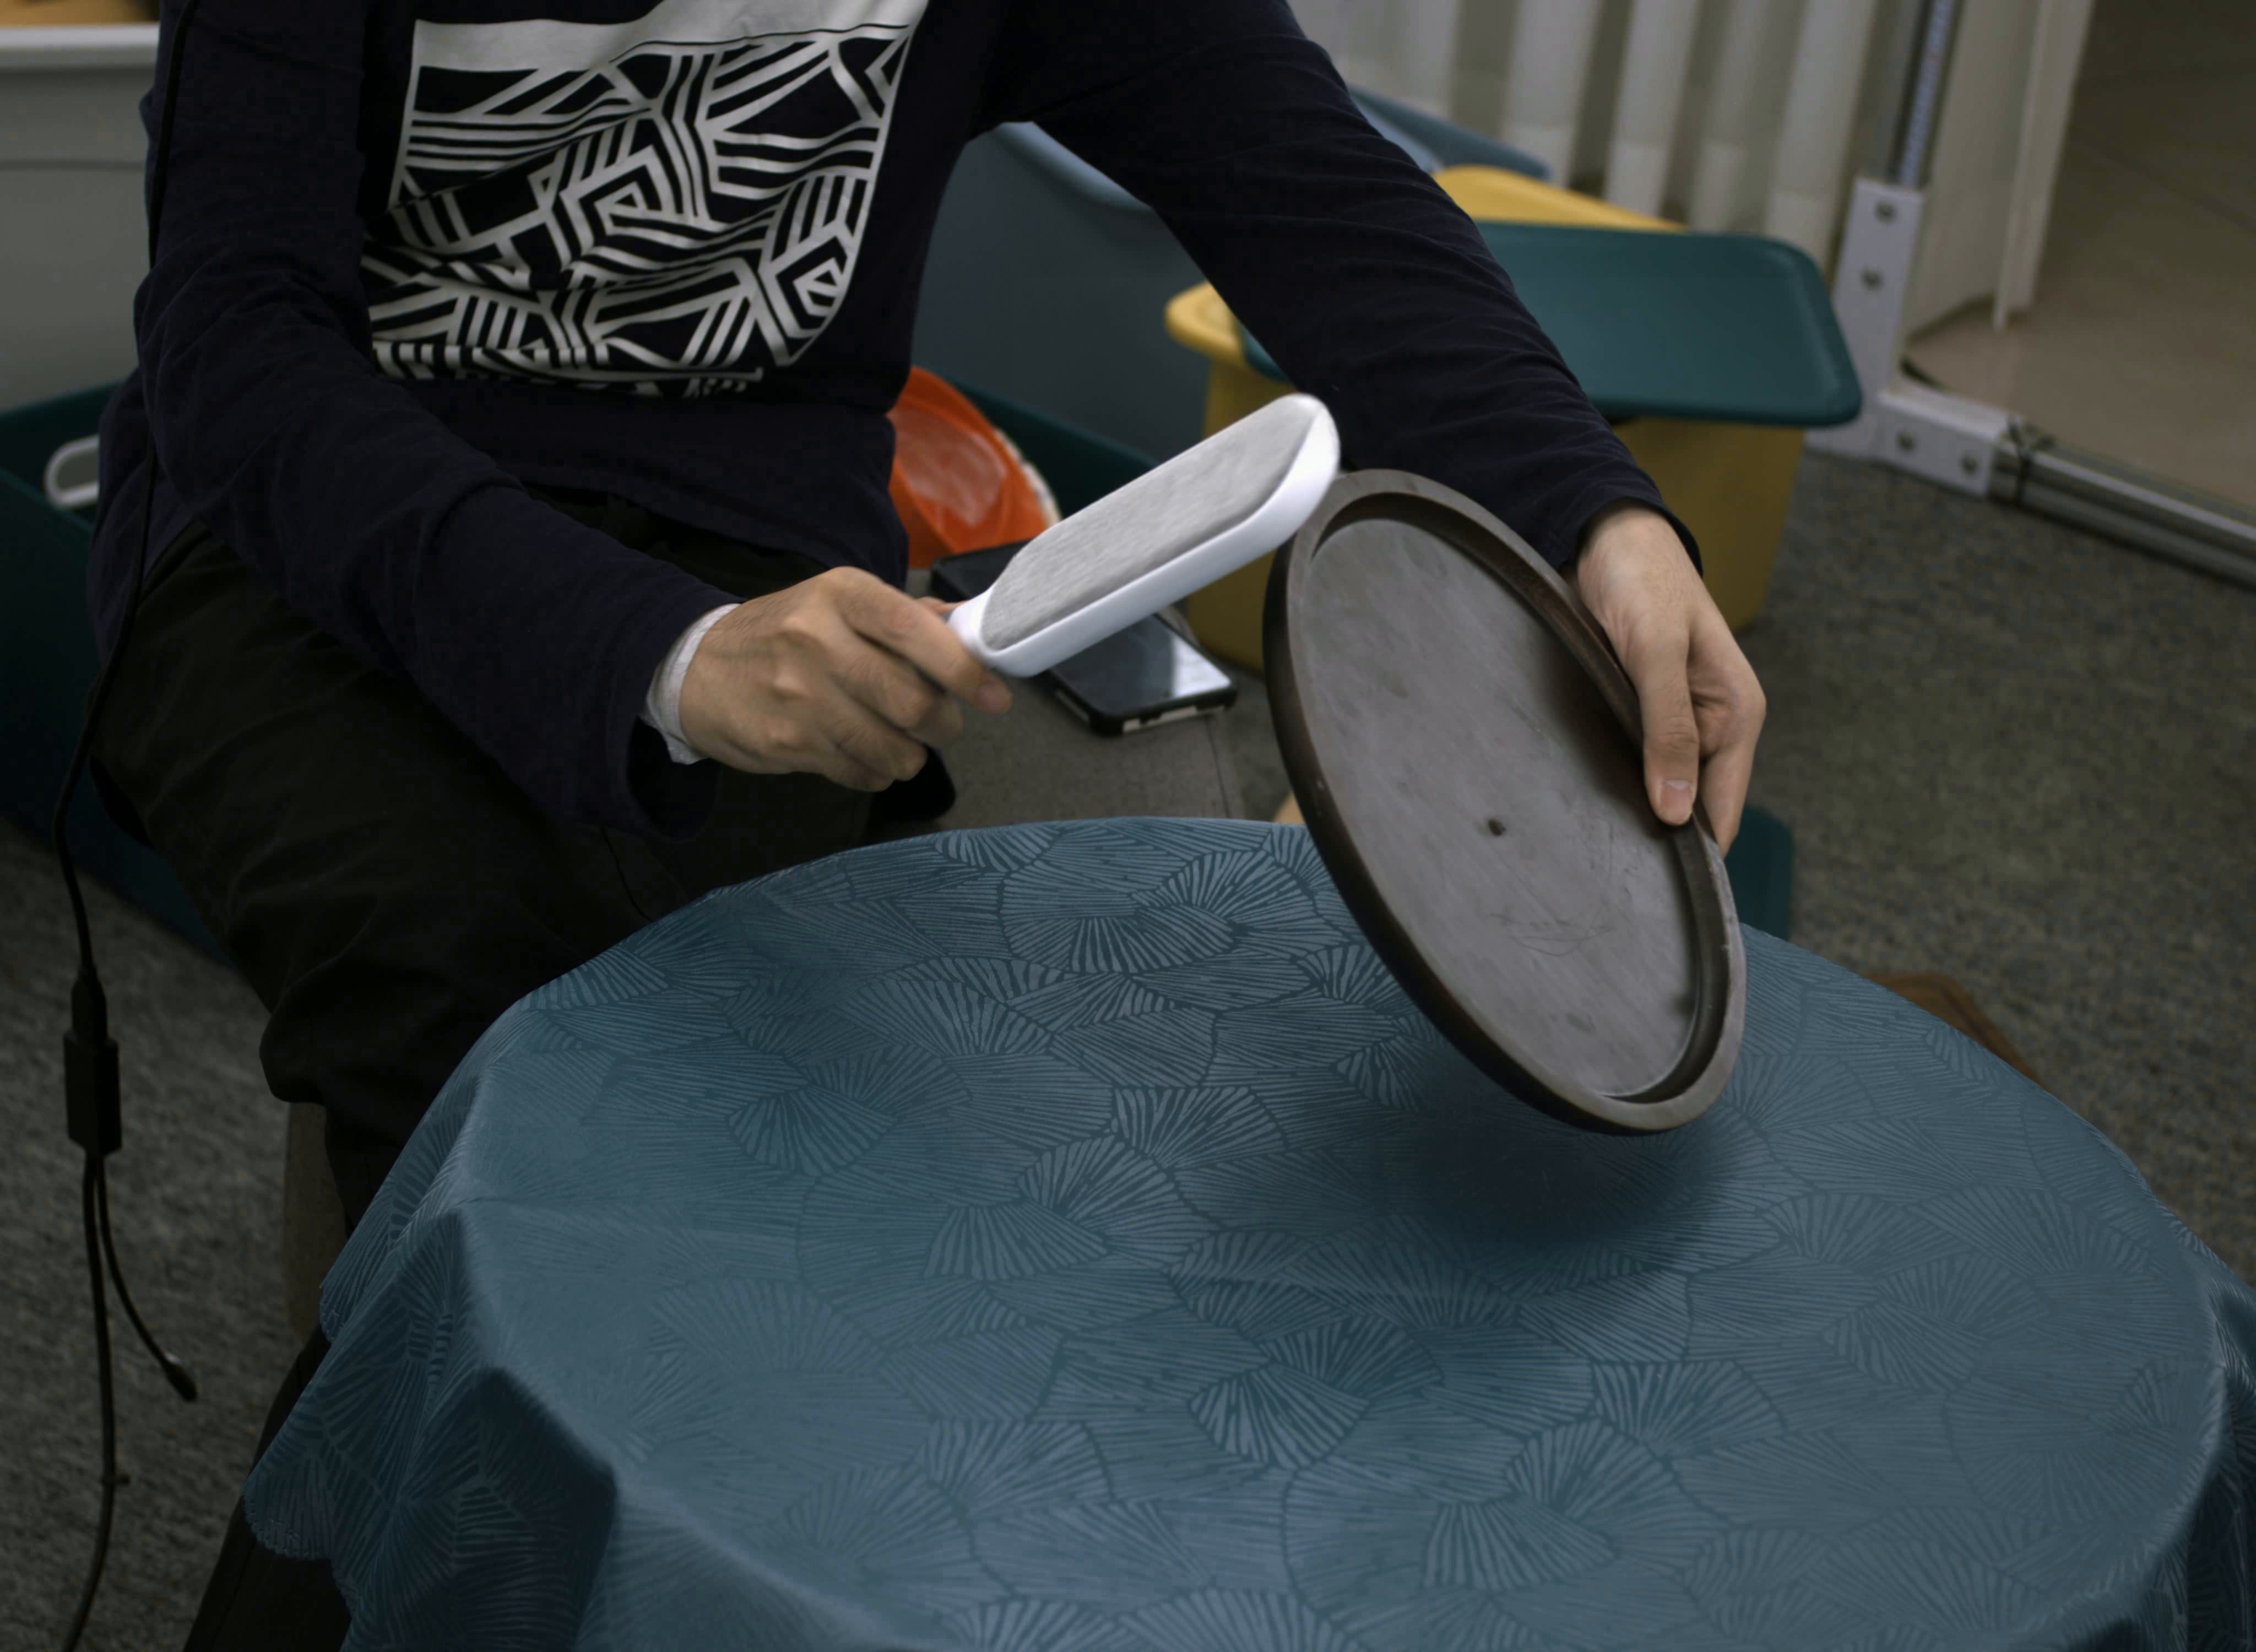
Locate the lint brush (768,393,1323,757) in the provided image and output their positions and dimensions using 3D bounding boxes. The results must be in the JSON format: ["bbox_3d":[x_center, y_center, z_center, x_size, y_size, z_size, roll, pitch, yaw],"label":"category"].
[{"bbox_3d":[-0.034,-0.079,1.830,0.021,0.309,0.060,29,57,-27],"label":"lint brush"}]

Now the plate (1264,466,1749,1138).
[{"bbox_3d":[0.130,-0.008,1.830,0.029,0.254,0.255,-29,10,30],"label":"plate"}]
